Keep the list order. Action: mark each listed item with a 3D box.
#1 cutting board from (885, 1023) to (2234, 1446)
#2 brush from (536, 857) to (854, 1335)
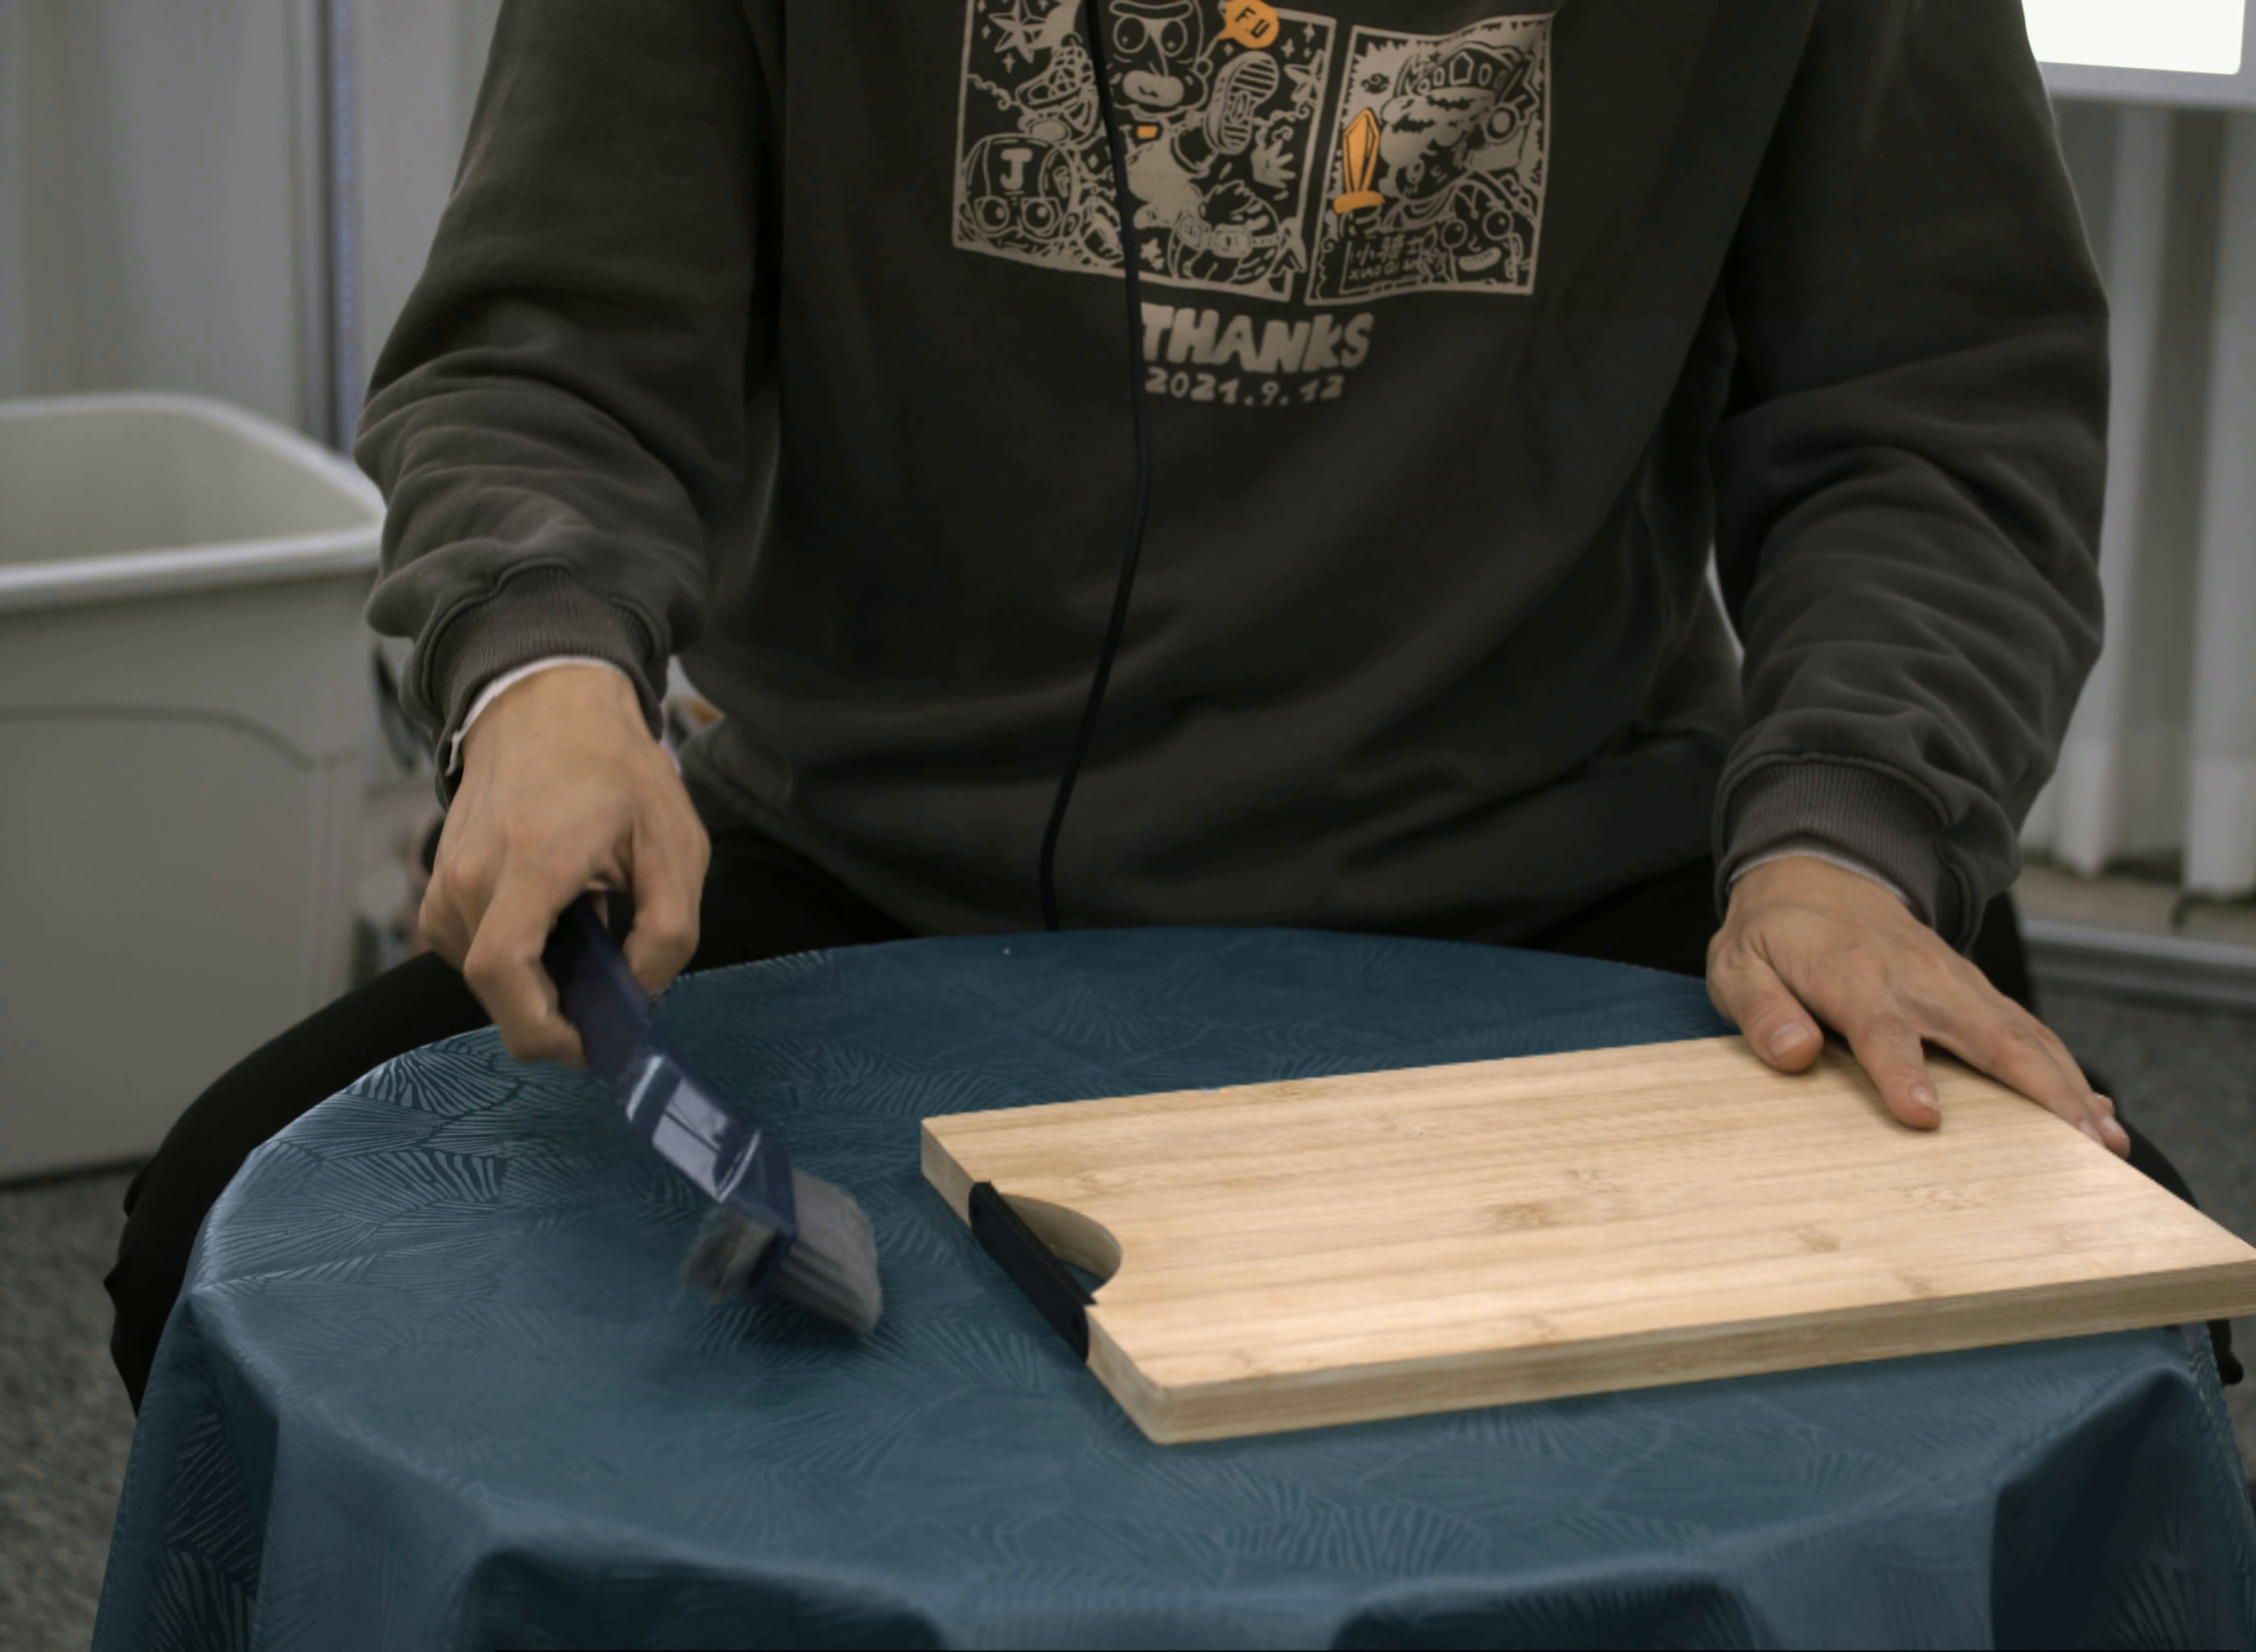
[{"bbox_3d":[0.125,0.118,1.586,0.349,0.024,0.248,-5,16,-19],"label":"cutting board"},{"bbox_3d":[-0.150,0.075,1.585,0.096,0.033,0.269,18,17,-35],"label":"brush"}]
